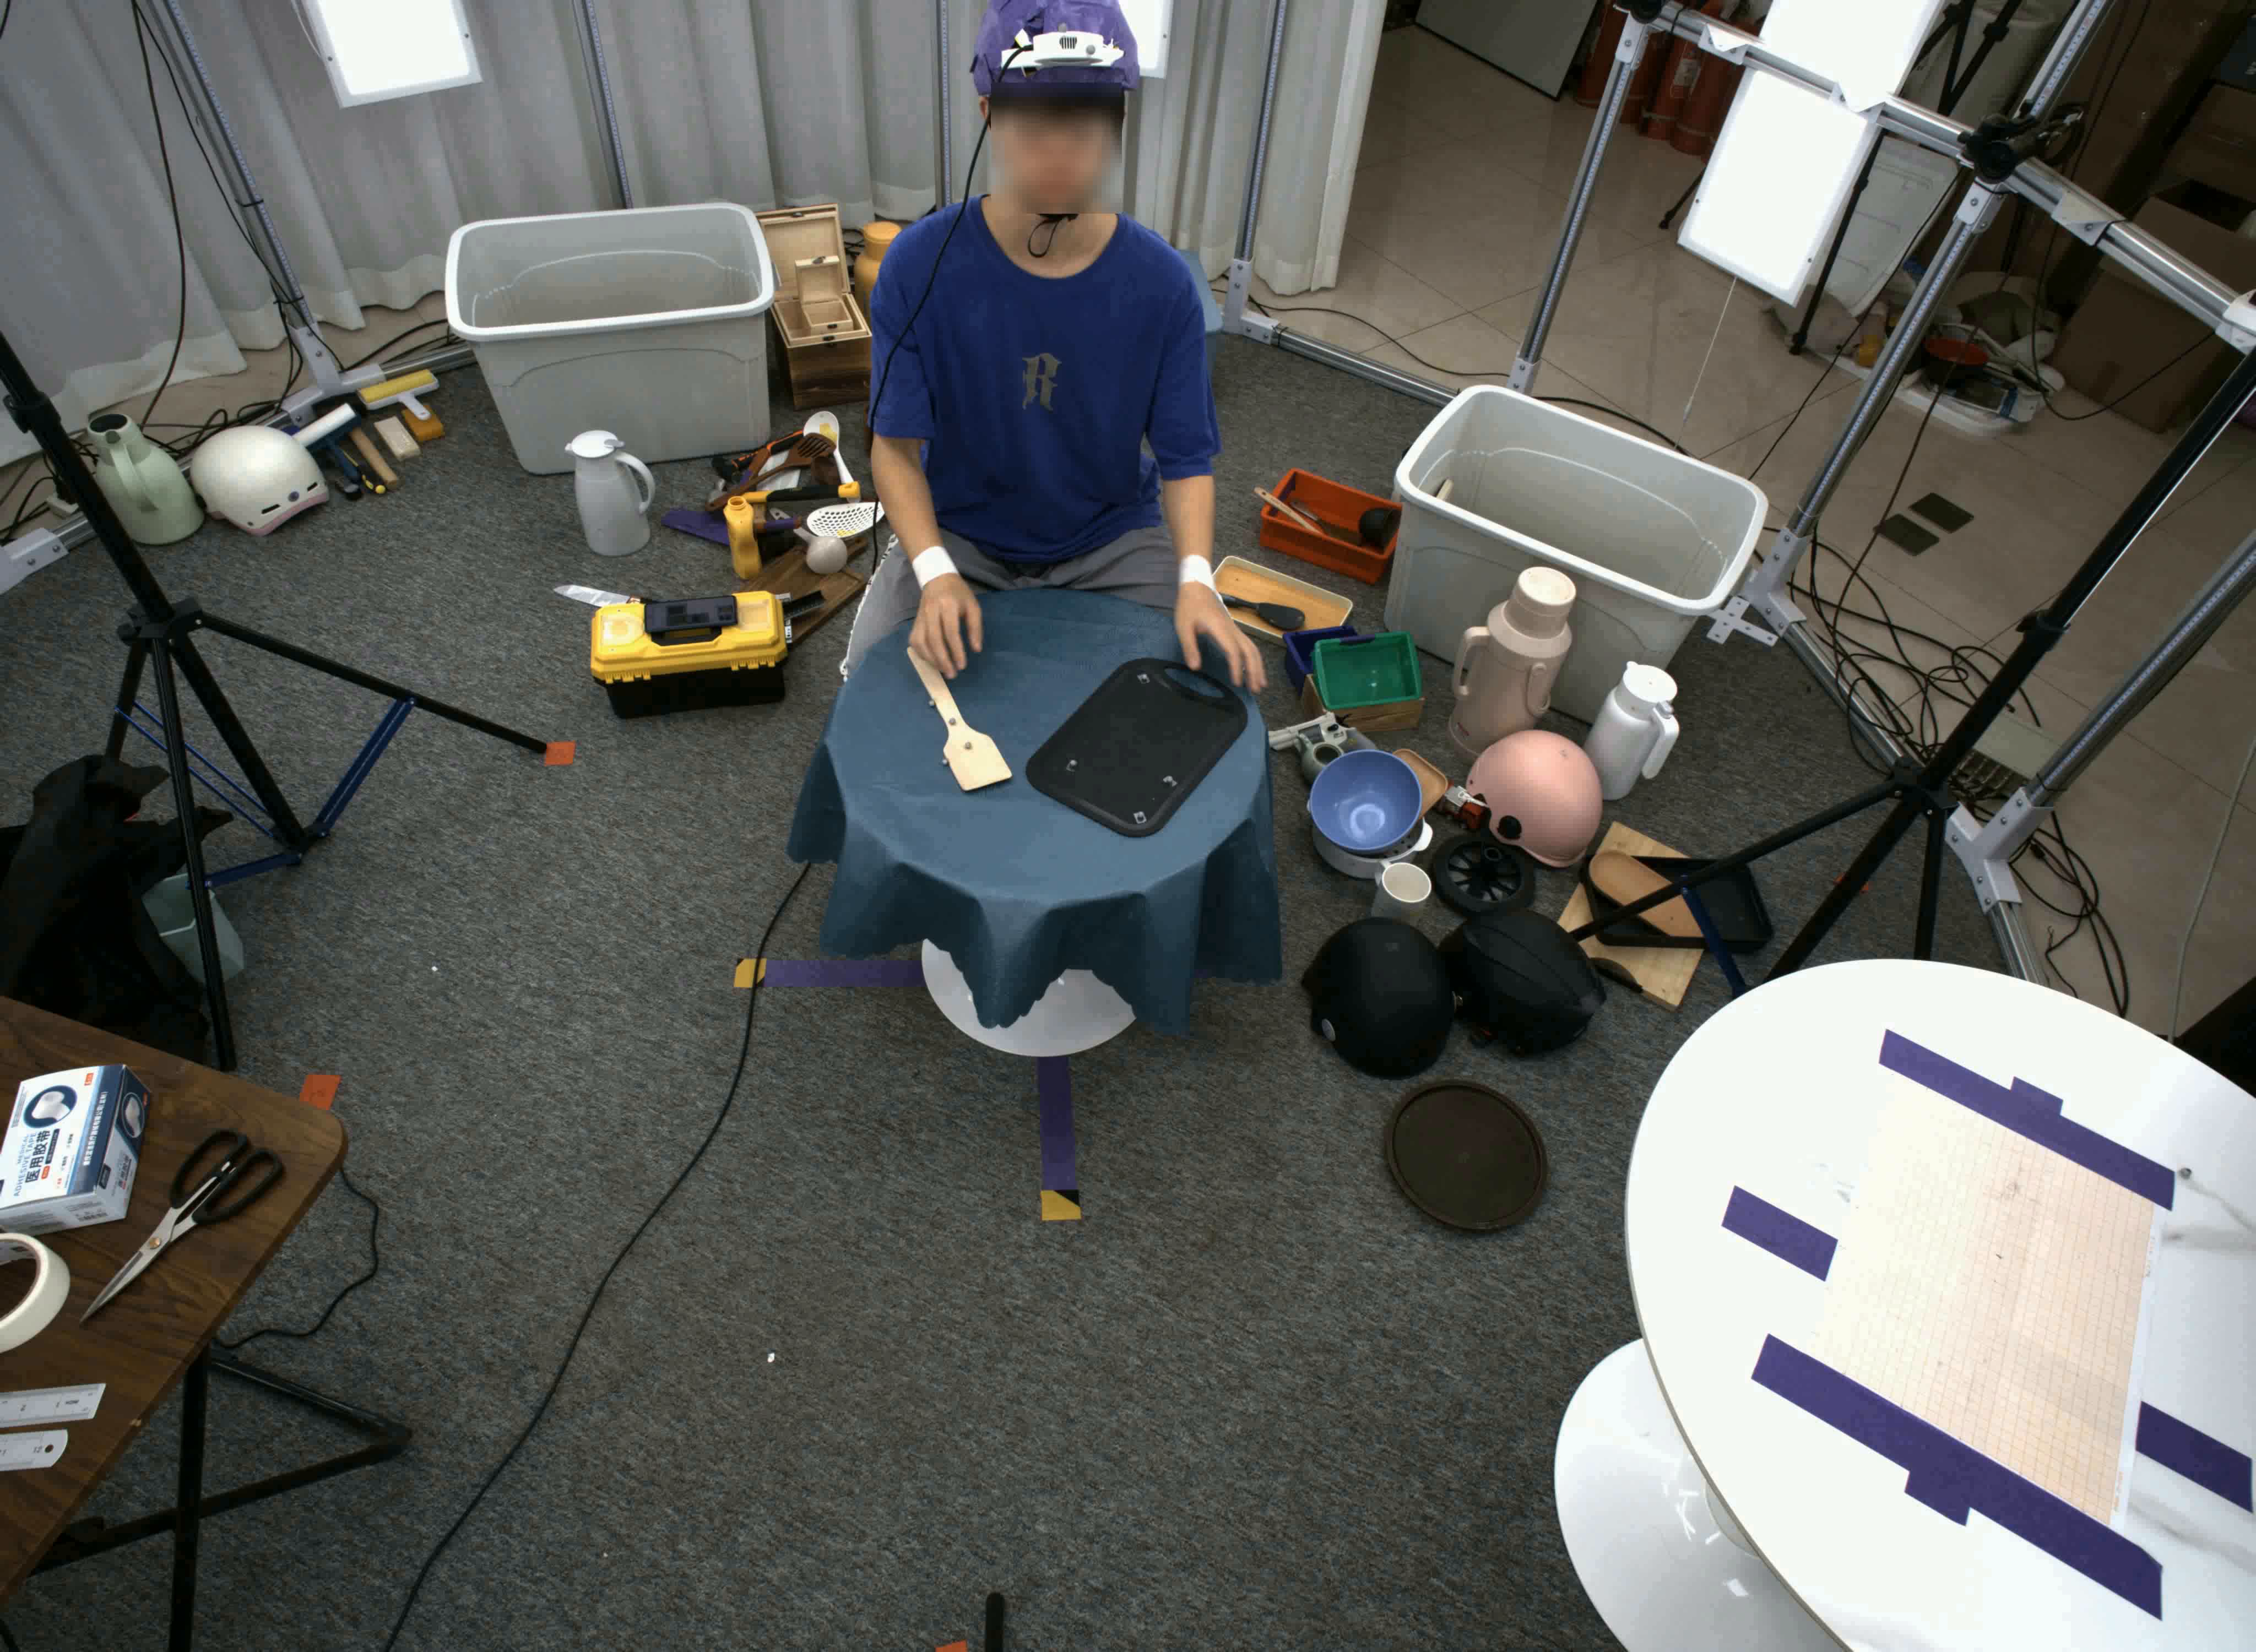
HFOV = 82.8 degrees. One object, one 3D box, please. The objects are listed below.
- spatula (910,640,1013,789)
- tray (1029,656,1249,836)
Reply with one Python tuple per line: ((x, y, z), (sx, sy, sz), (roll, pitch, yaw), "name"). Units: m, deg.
((-0.246, -0.162, 1.791), (0.072, 0.010, 0.299), (-18, 54, -17), "spatula")
((0.022, -0.125, 1.778), (0.213, 0.009, 0.330), (28, 54, 19), "tray")
